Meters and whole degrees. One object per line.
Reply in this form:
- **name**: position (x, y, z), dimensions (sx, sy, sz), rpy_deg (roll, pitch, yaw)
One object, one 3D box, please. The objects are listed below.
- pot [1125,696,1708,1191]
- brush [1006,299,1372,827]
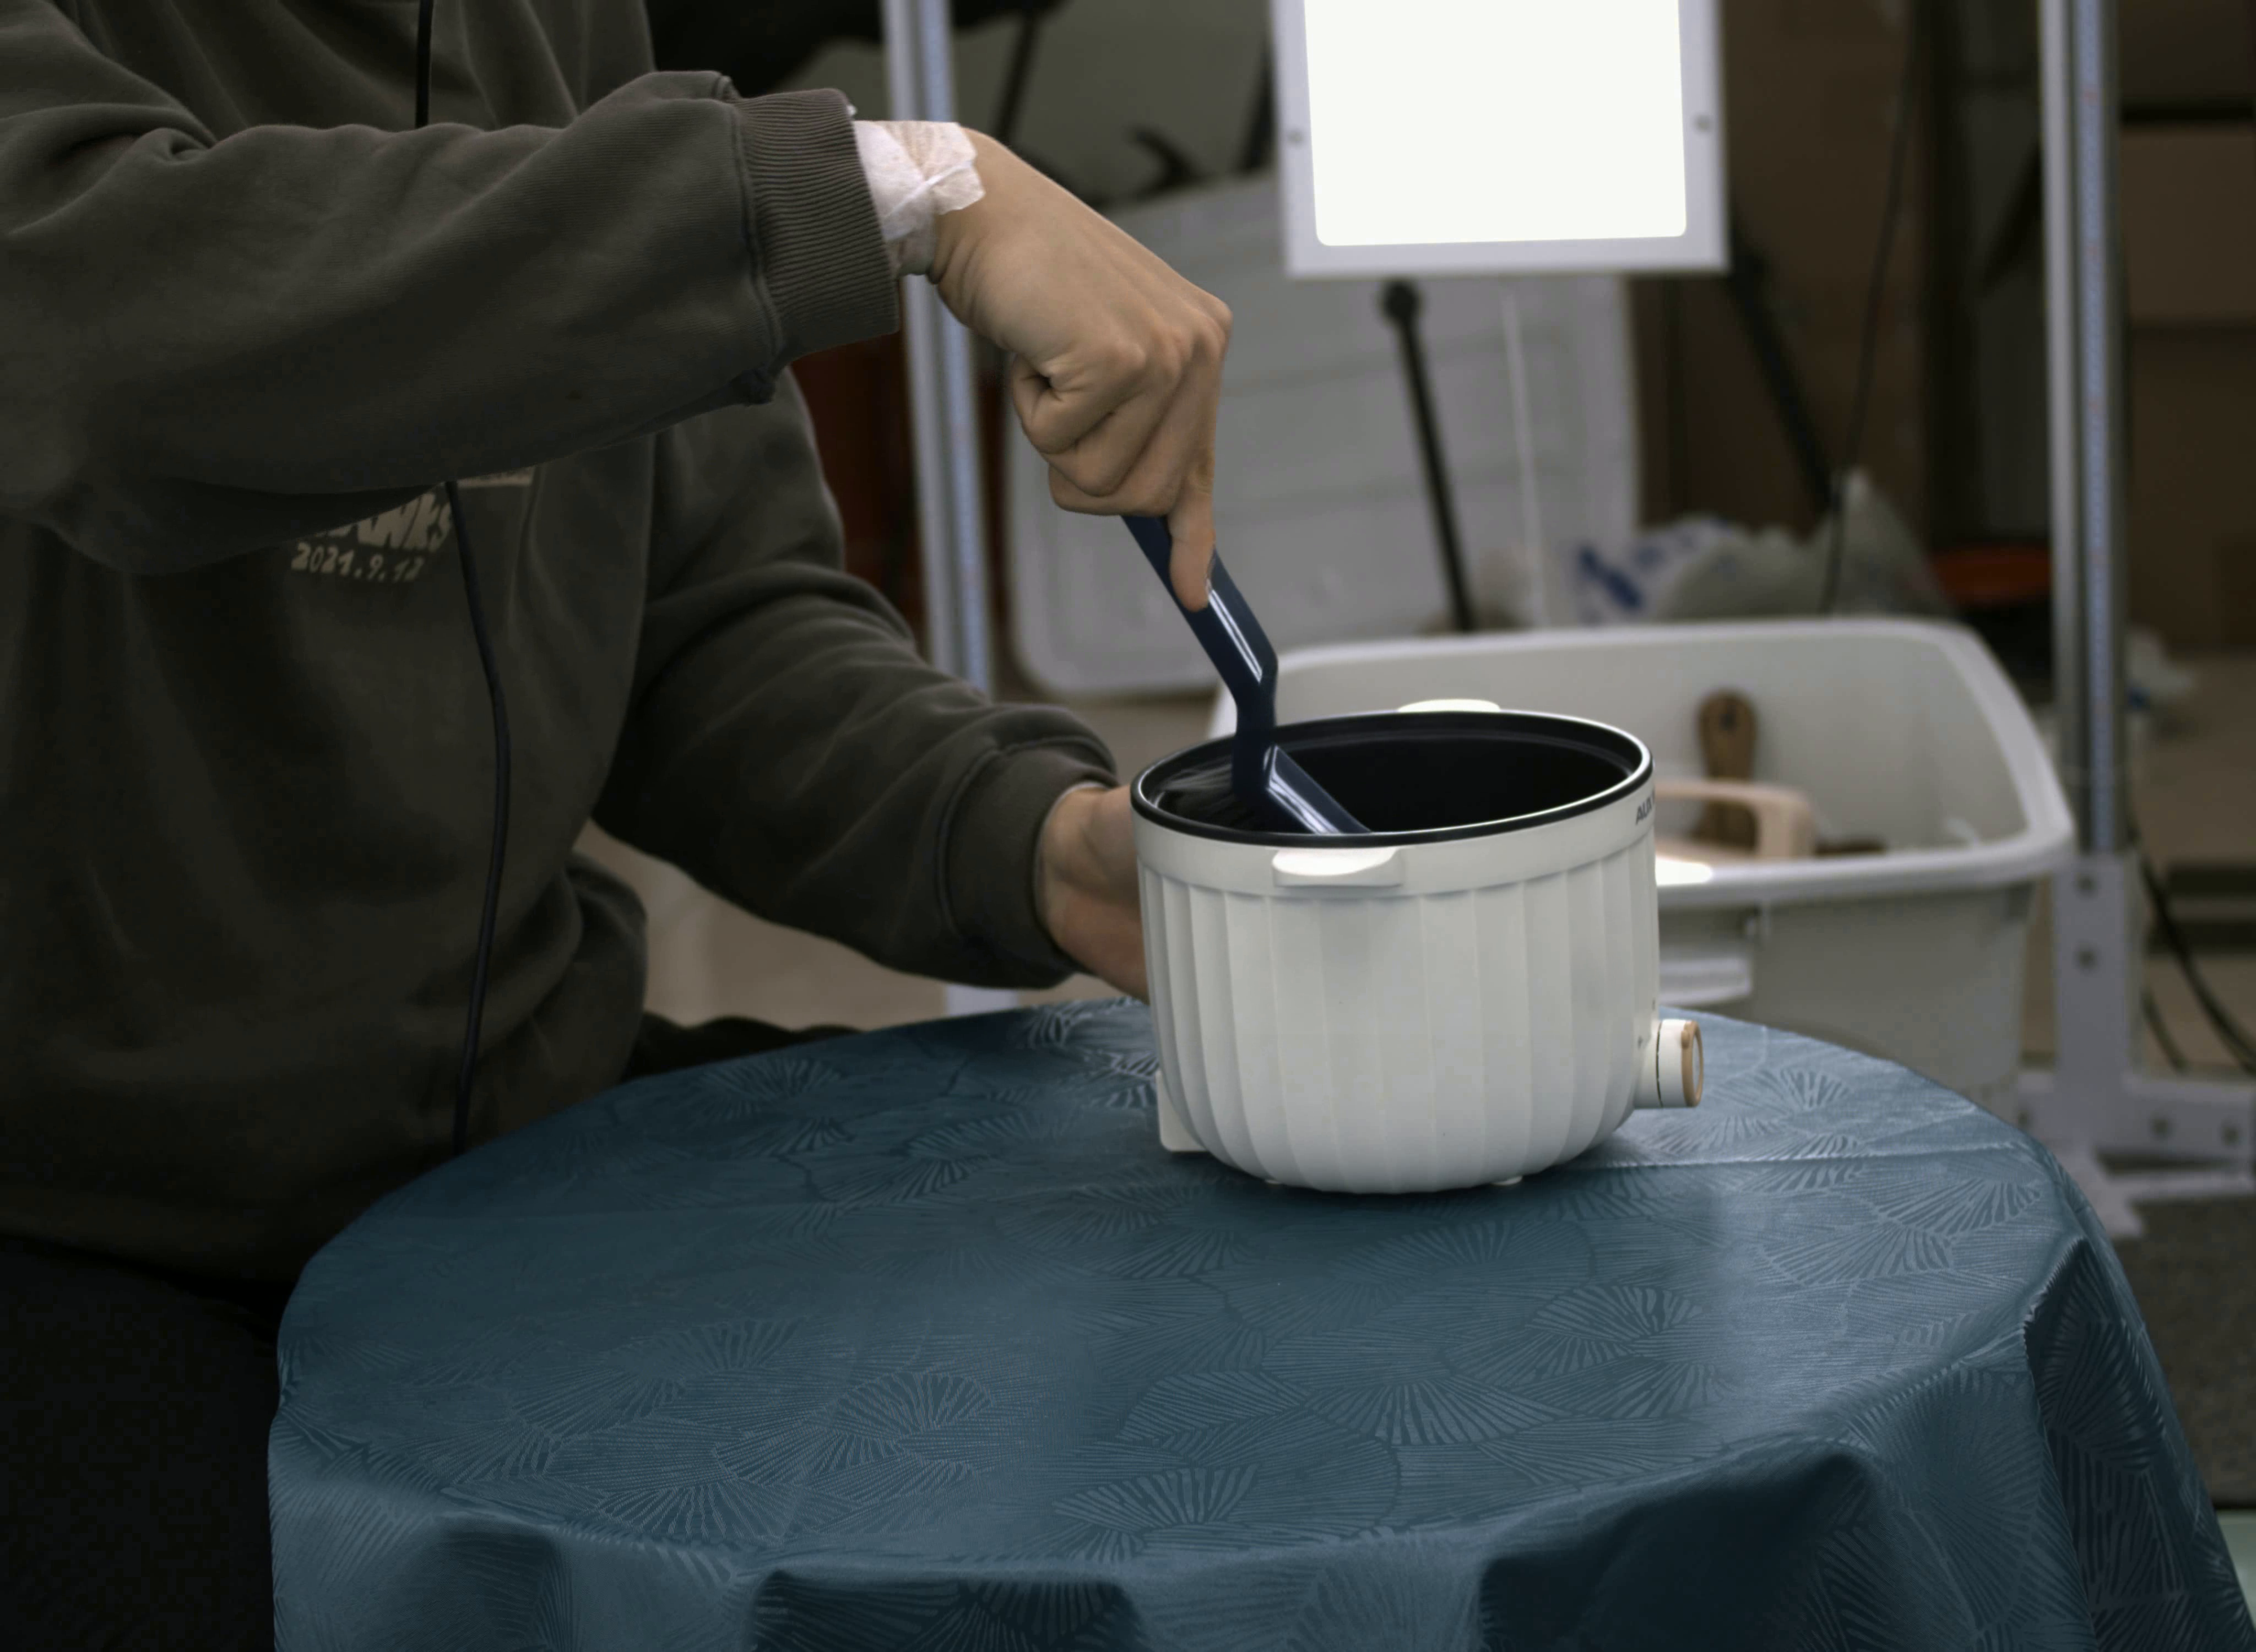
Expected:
- **pot**: position (0.101, 0.043, 1.905), dimensions (0.192, 0.143, 0.237), rpy_deg (-5, 15, 16)
- **brush**: position (0.038, -0.066, 1.860), dimensions (0.097, 0.272, 0.033), rpy_deg (-6, 40, 25)
